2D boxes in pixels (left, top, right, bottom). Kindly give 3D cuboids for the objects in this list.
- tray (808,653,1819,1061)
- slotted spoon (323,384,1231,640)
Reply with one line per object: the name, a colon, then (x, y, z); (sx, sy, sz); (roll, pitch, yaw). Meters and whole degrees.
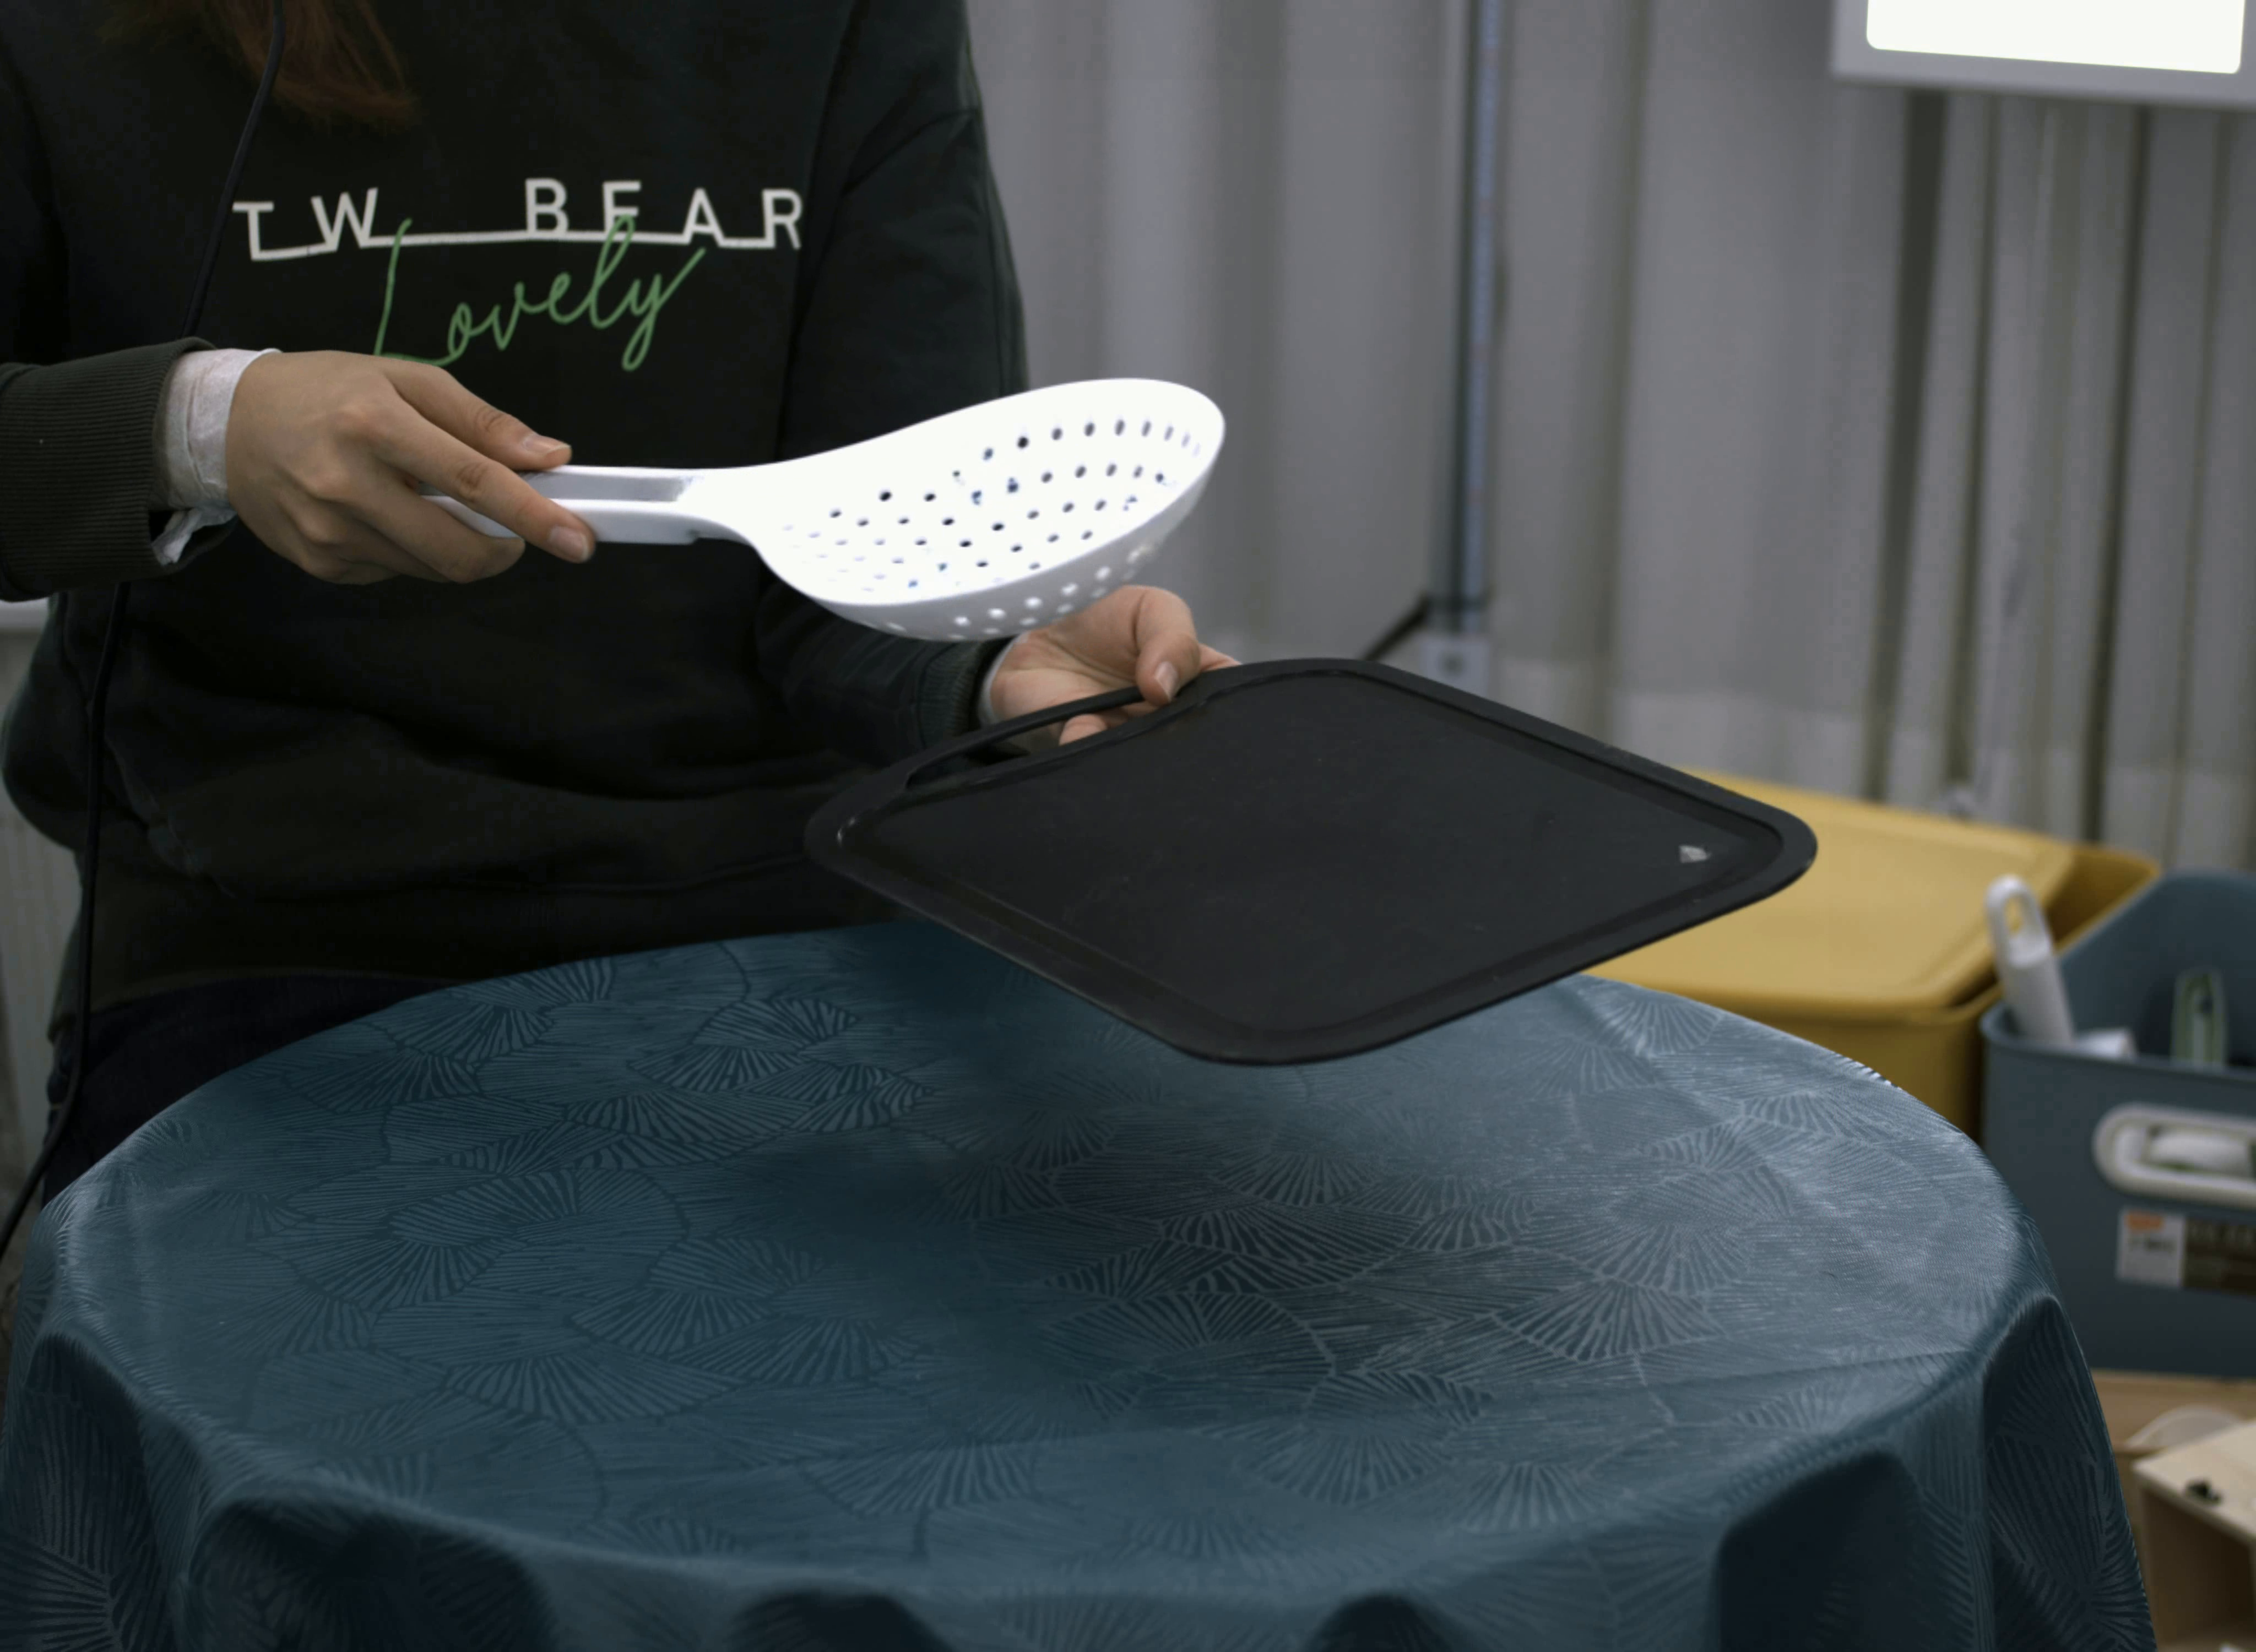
tray: (0.043, 0.001, 1.574); (0.211, 0.010, 0.321); (-20, 23, -26)
slotted spoon: (-0.118, -0.099, 1.607); (0.345, 0.046, 0.136); (9, 36, 35)
